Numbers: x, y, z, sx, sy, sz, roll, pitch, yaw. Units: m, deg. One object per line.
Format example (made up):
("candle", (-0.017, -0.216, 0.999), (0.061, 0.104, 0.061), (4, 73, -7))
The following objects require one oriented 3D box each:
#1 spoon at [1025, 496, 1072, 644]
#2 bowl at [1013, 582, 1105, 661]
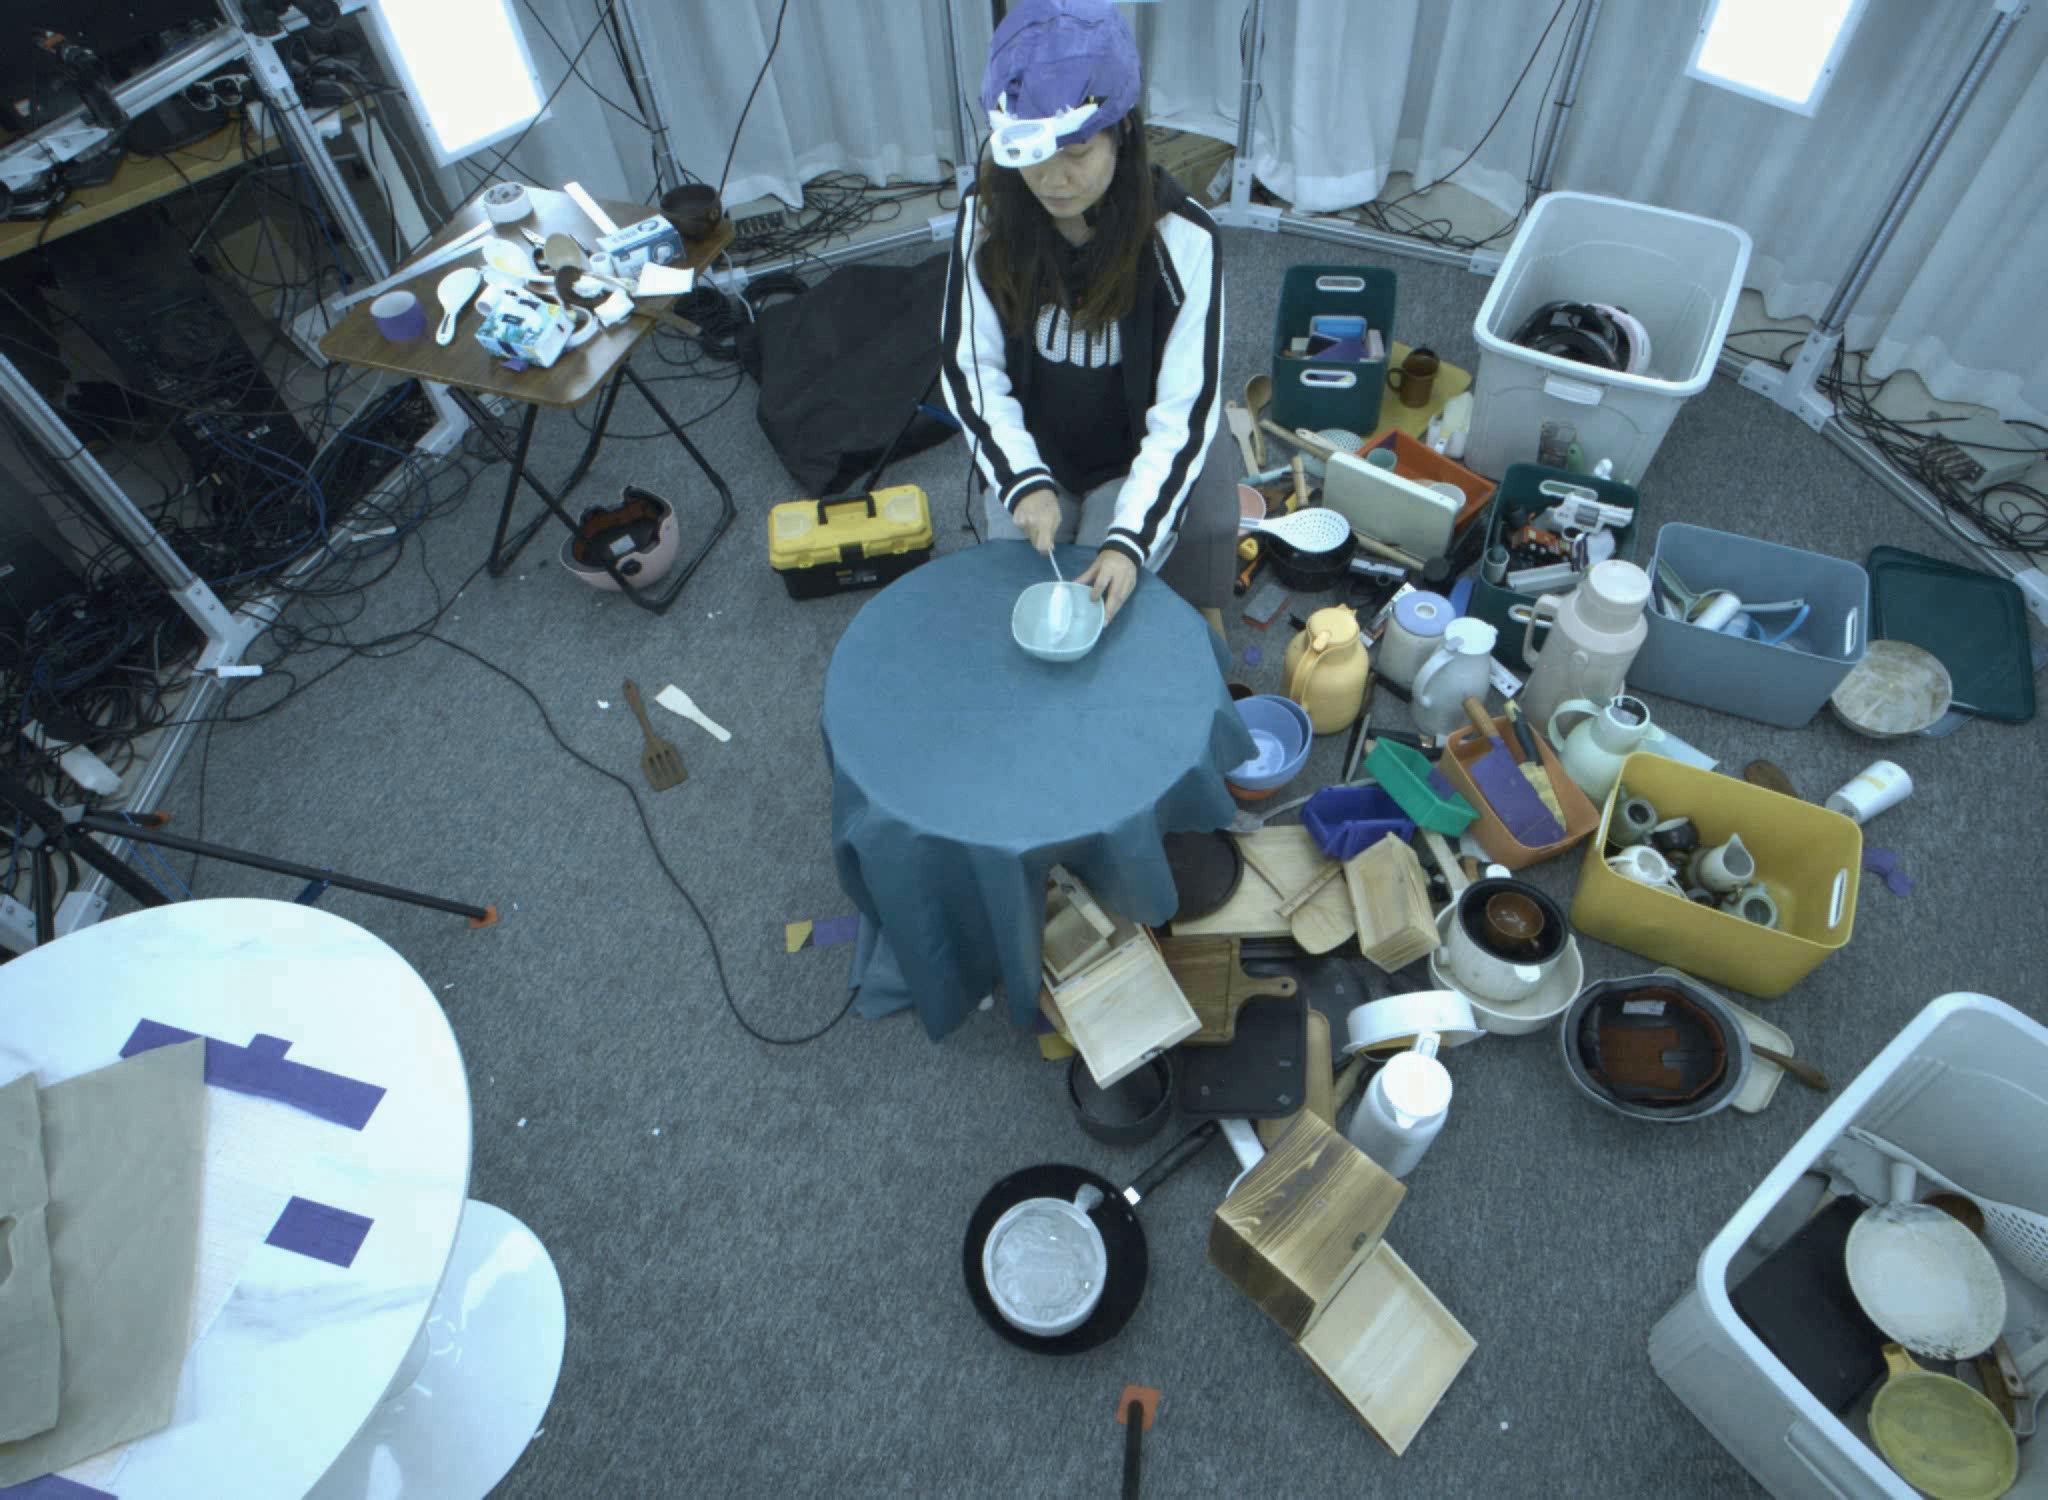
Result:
("spoon", (0.020, -0.287, 1.878), (0.059, 0.102, 0.273), (-18, 61, -6))
("bowl", (0.054, -0.187, 1.885), (0.151, 0.059, 0.150), (-1, 57, 2))
